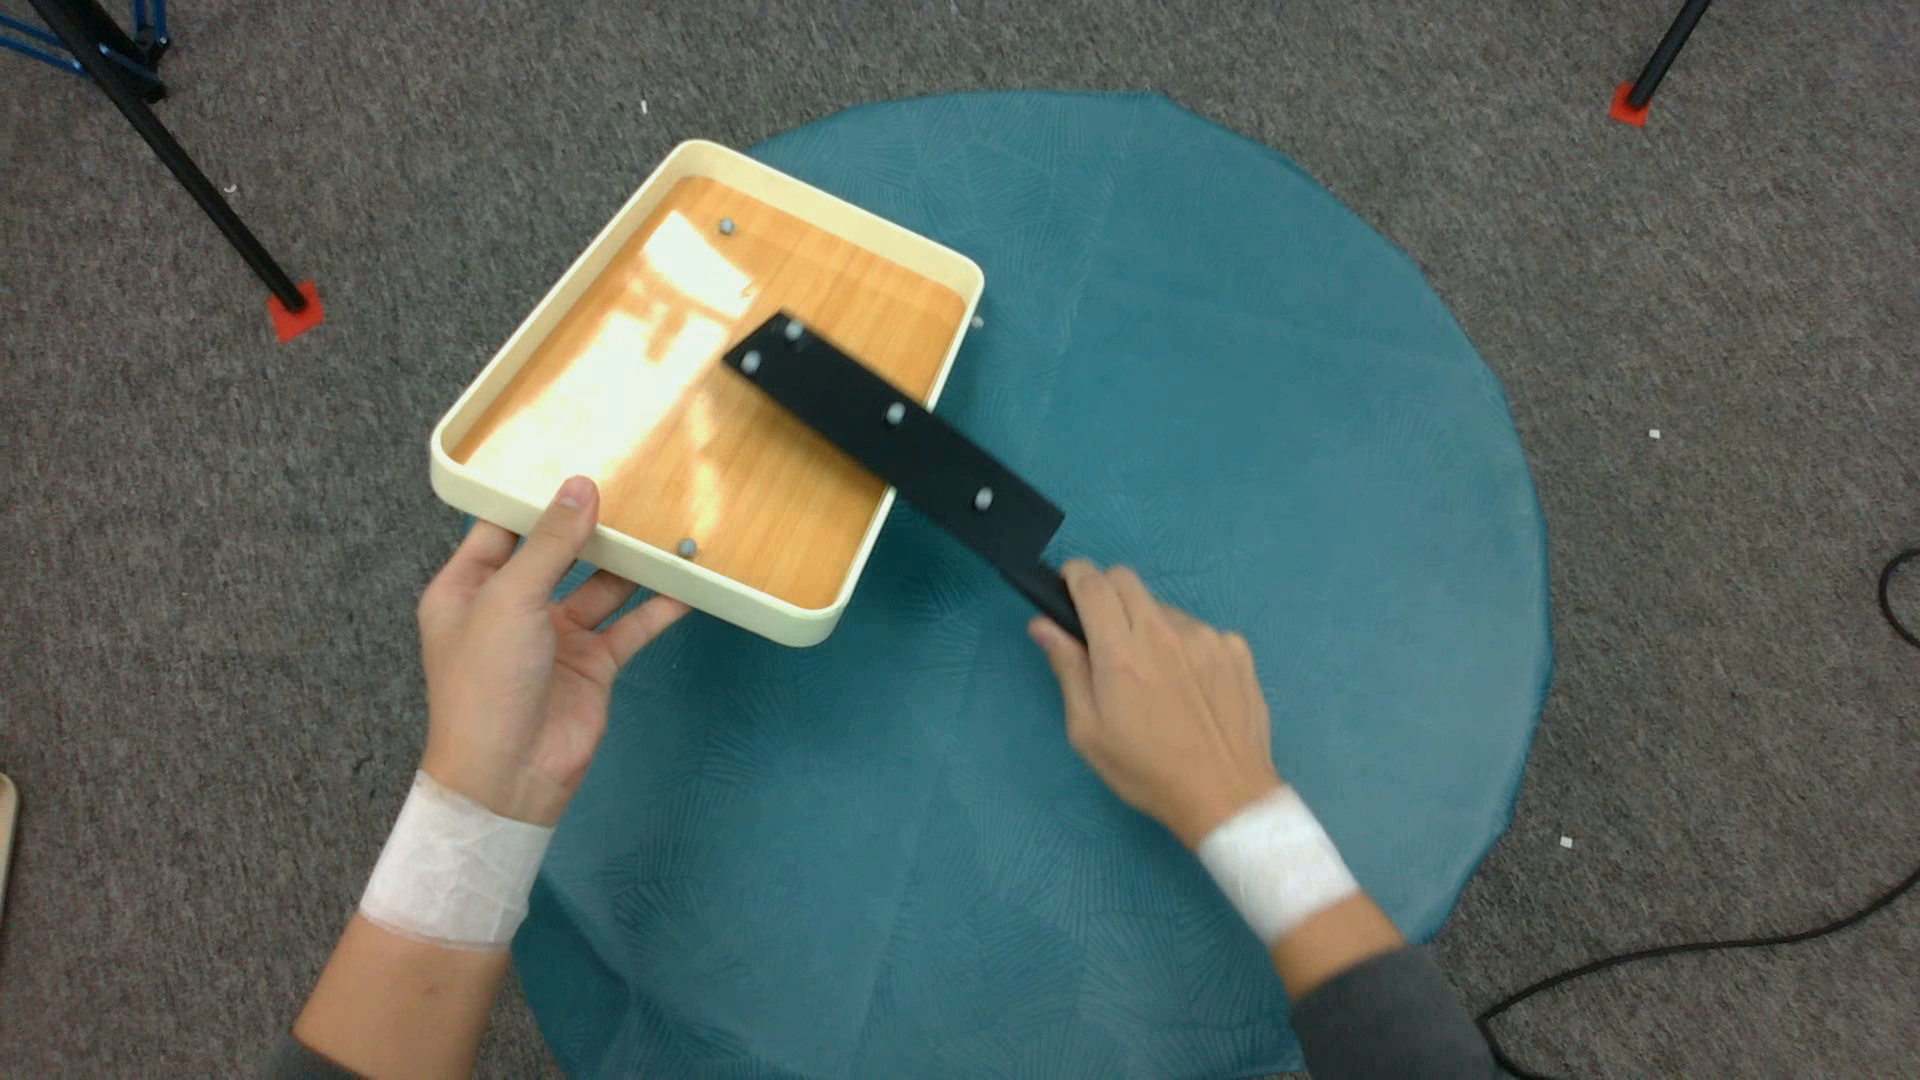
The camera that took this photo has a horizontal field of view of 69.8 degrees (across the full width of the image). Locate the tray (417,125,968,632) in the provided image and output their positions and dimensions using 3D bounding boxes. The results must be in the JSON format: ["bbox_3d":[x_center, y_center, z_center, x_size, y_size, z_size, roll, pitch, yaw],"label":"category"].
[{"bbox_3d":[-0.116,-0.097,0.695,0.191,0.027,0.302,23,45,-4],"label":"tray"}]

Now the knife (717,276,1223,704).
[{"bbox_3d":[0.010,-0.025,0.681,0.302,0.021,0.081,42,44,2],"label":"knife"}]
